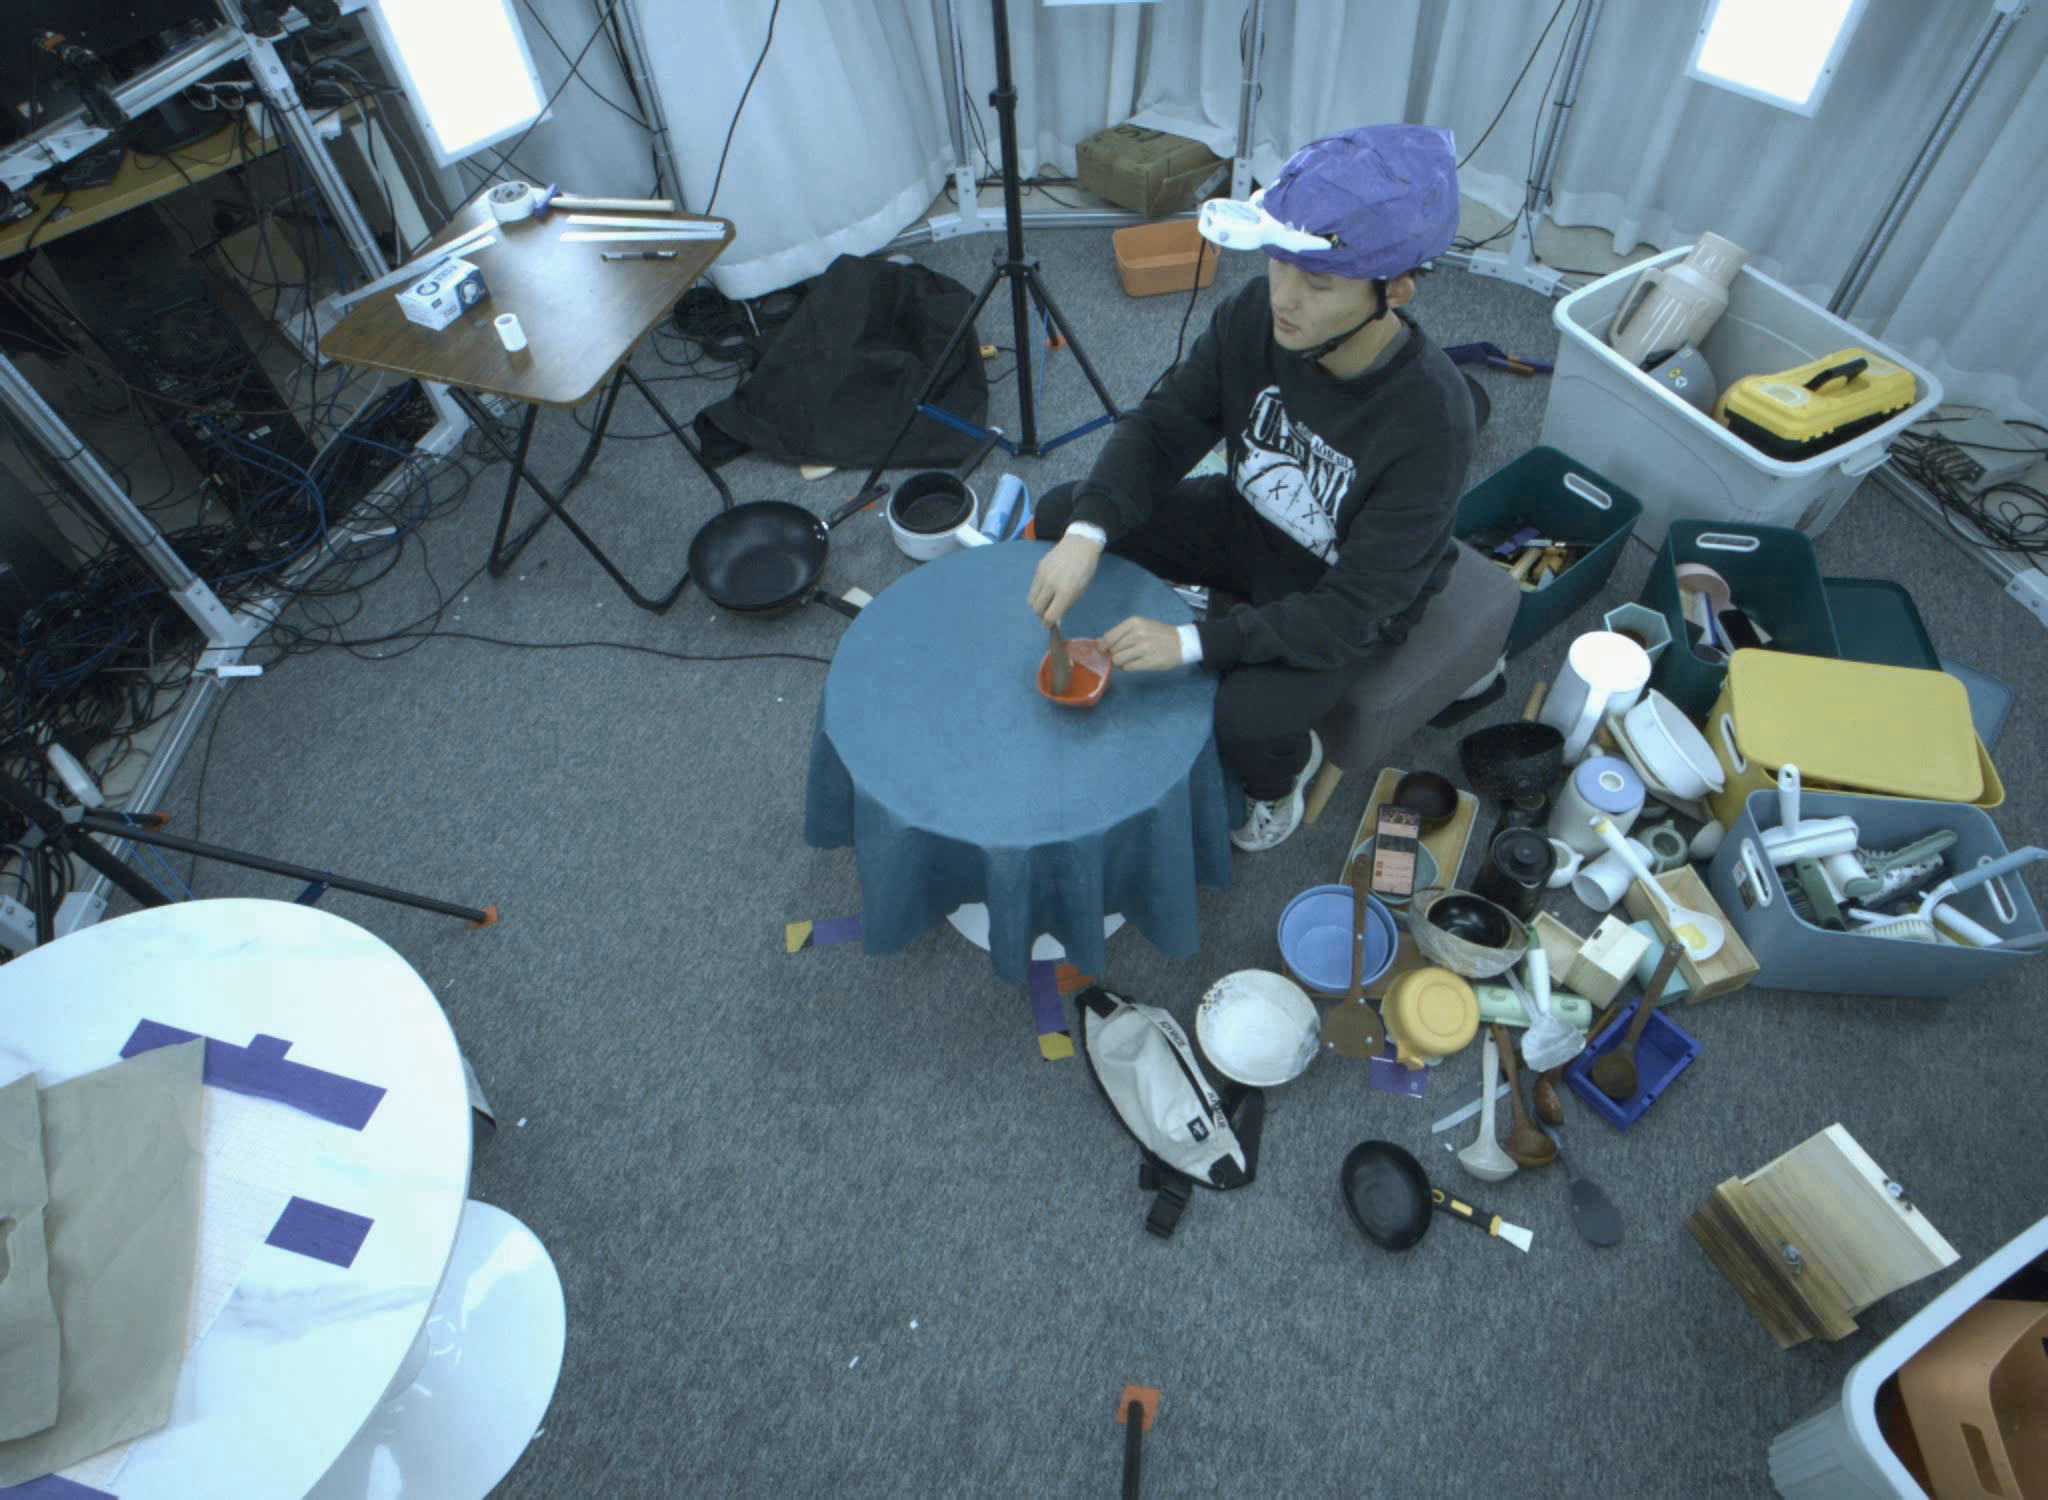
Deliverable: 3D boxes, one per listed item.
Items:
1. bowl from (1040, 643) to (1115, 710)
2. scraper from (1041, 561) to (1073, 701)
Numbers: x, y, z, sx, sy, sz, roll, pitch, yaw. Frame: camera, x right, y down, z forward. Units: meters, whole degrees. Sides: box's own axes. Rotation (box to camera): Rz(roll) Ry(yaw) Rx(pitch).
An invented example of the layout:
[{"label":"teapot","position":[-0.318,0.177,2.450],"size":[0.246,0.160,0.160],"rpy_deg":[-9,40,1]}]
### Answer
[{"label":"bowl","position":[0.086,-0.101,1.826],"size":[0.118,0.052,0.118],"rpy_deg":[-10,55,16]},{"label":"scraper","position":[0.045,-0.179,1.814],"size":[0.011,0.075,0.210],"rpy_deg":[-4,77,-20]}]
